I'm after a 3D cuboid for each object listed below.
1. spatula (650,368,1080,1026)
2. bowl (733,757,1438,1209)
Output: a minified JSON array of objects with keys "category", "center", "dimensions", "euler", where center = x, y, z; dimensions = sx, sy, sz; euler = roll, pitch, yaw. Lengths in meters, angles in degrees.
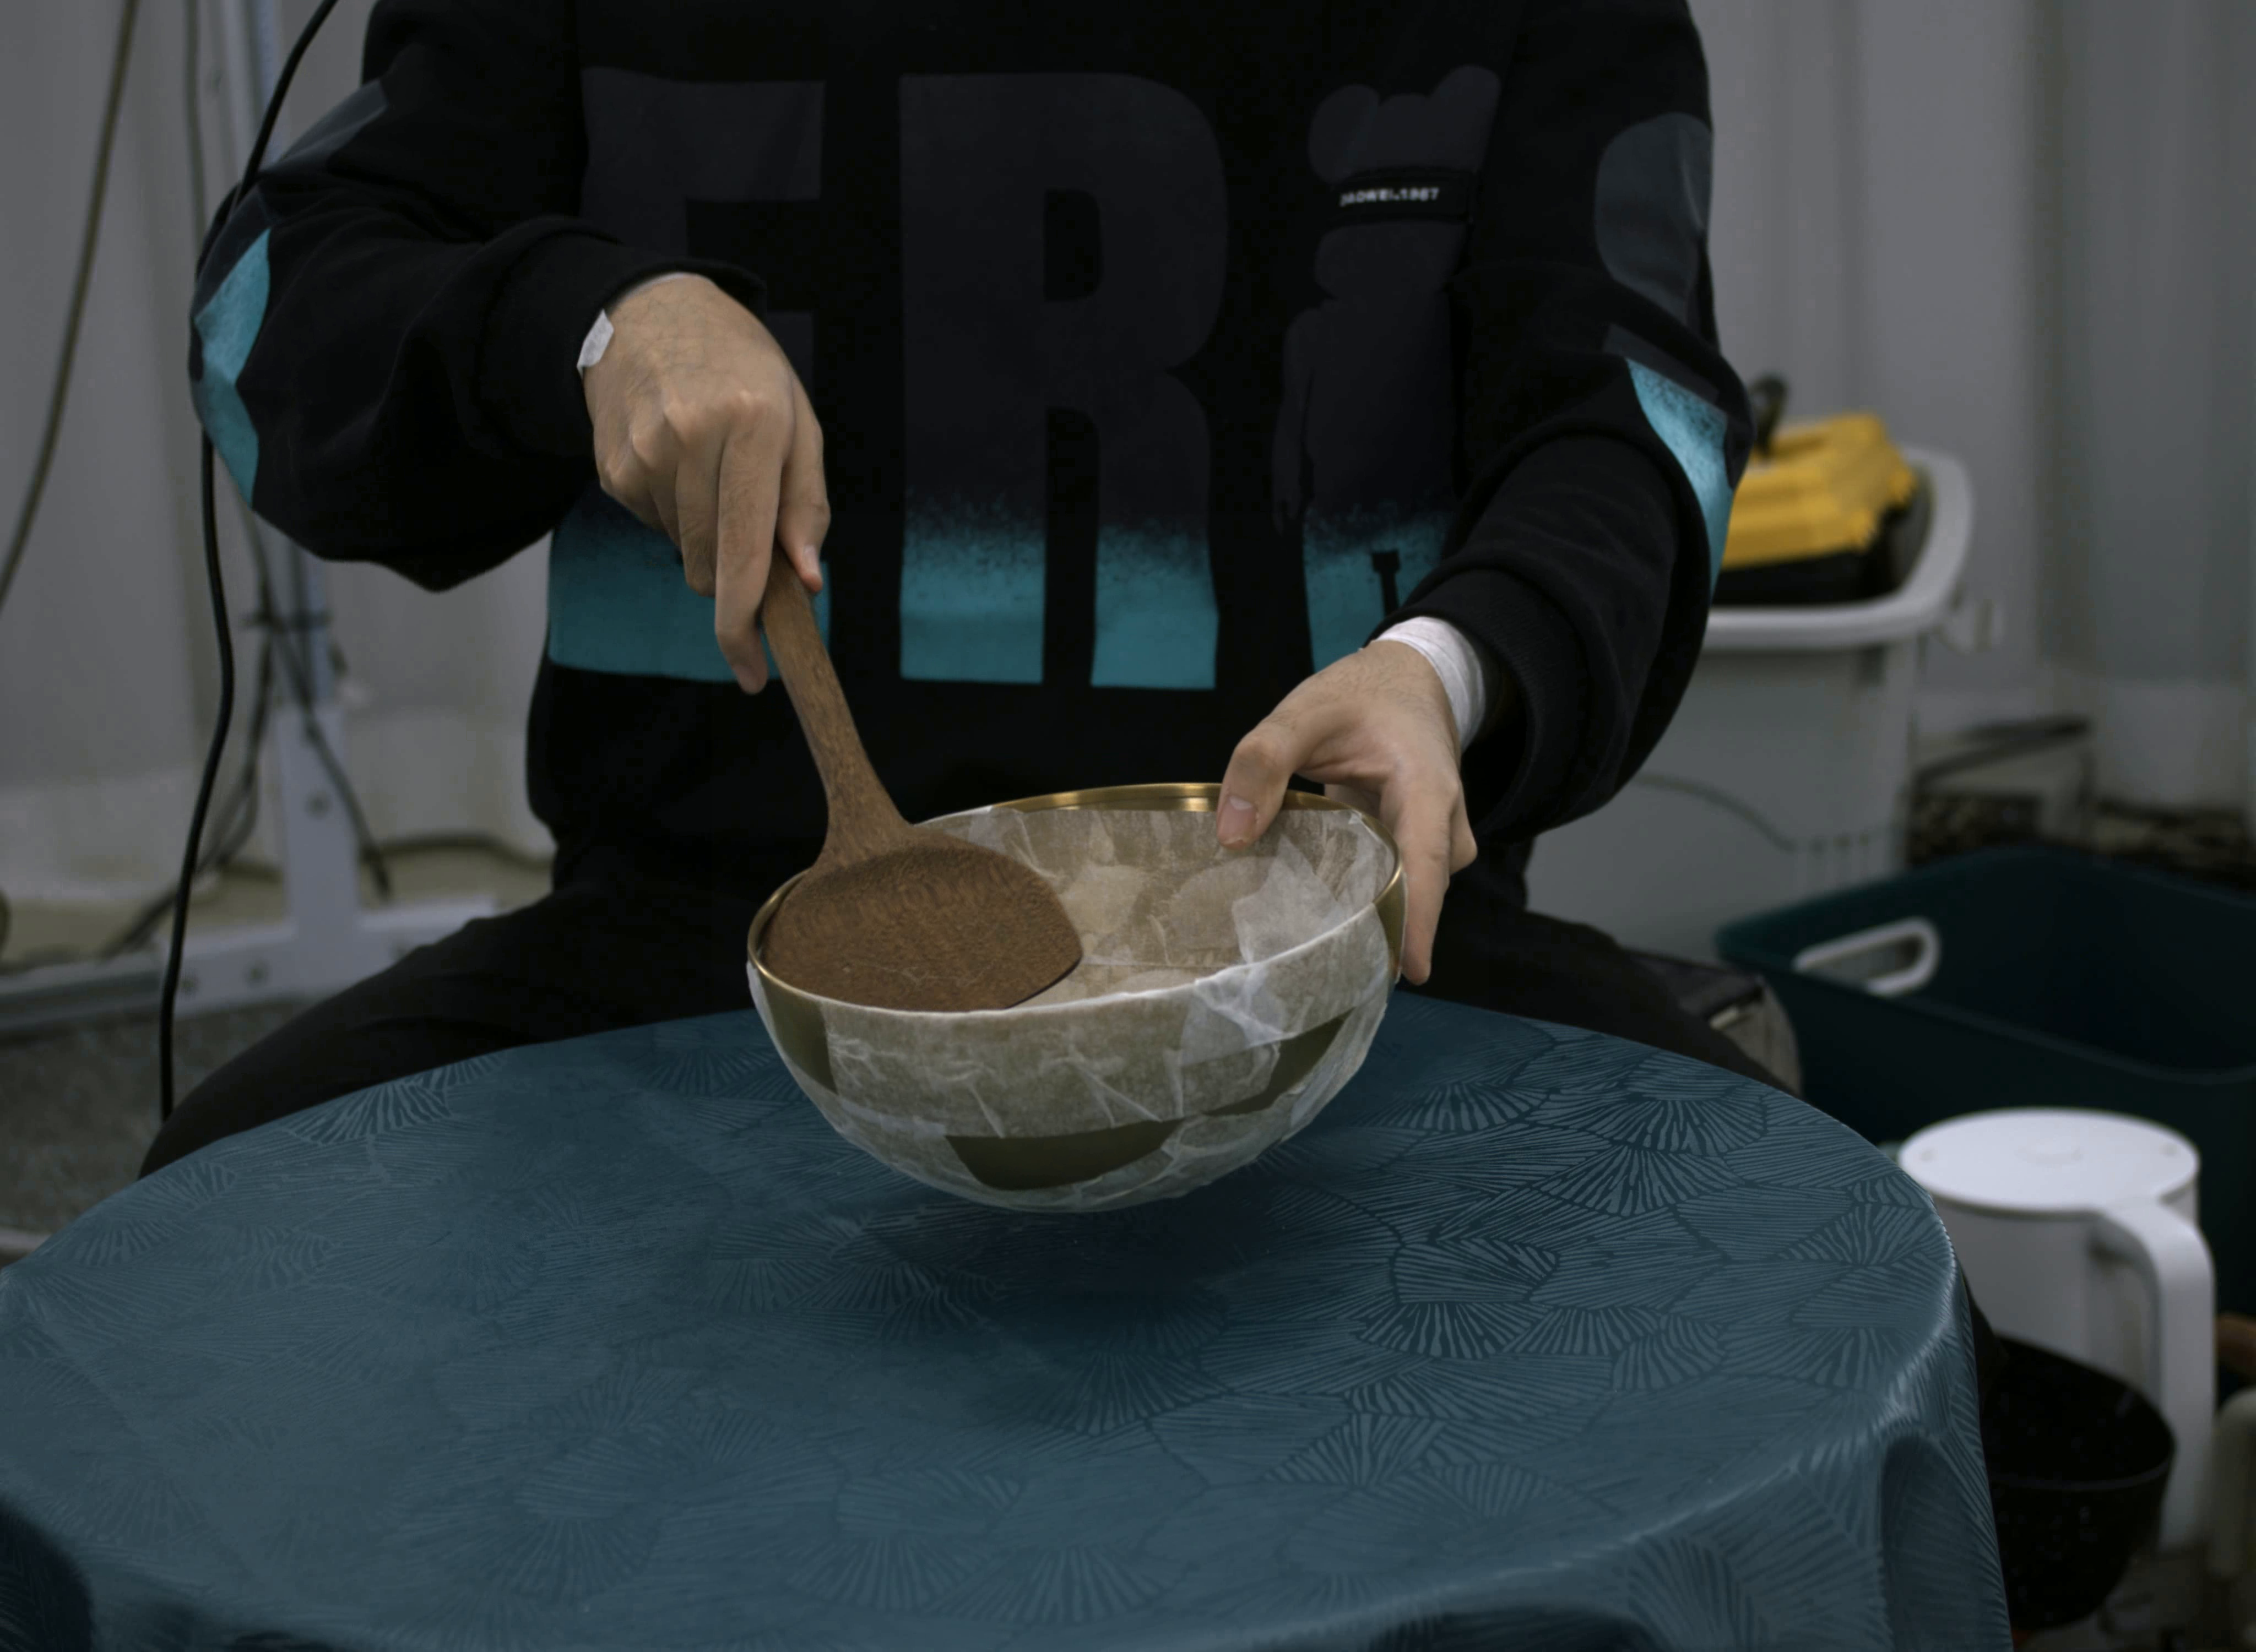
[{"category":"spatula","center":[-0.105,-0.050,1.765],"dimensions":[0.096,0.015,0.392],"euler":[-13,38,-9]},{"category":"bowl","center":[-0.009,0.057,1.653],"dimensions":[0.214,0.094,0.216],"euler":[-8,19,2]}]
